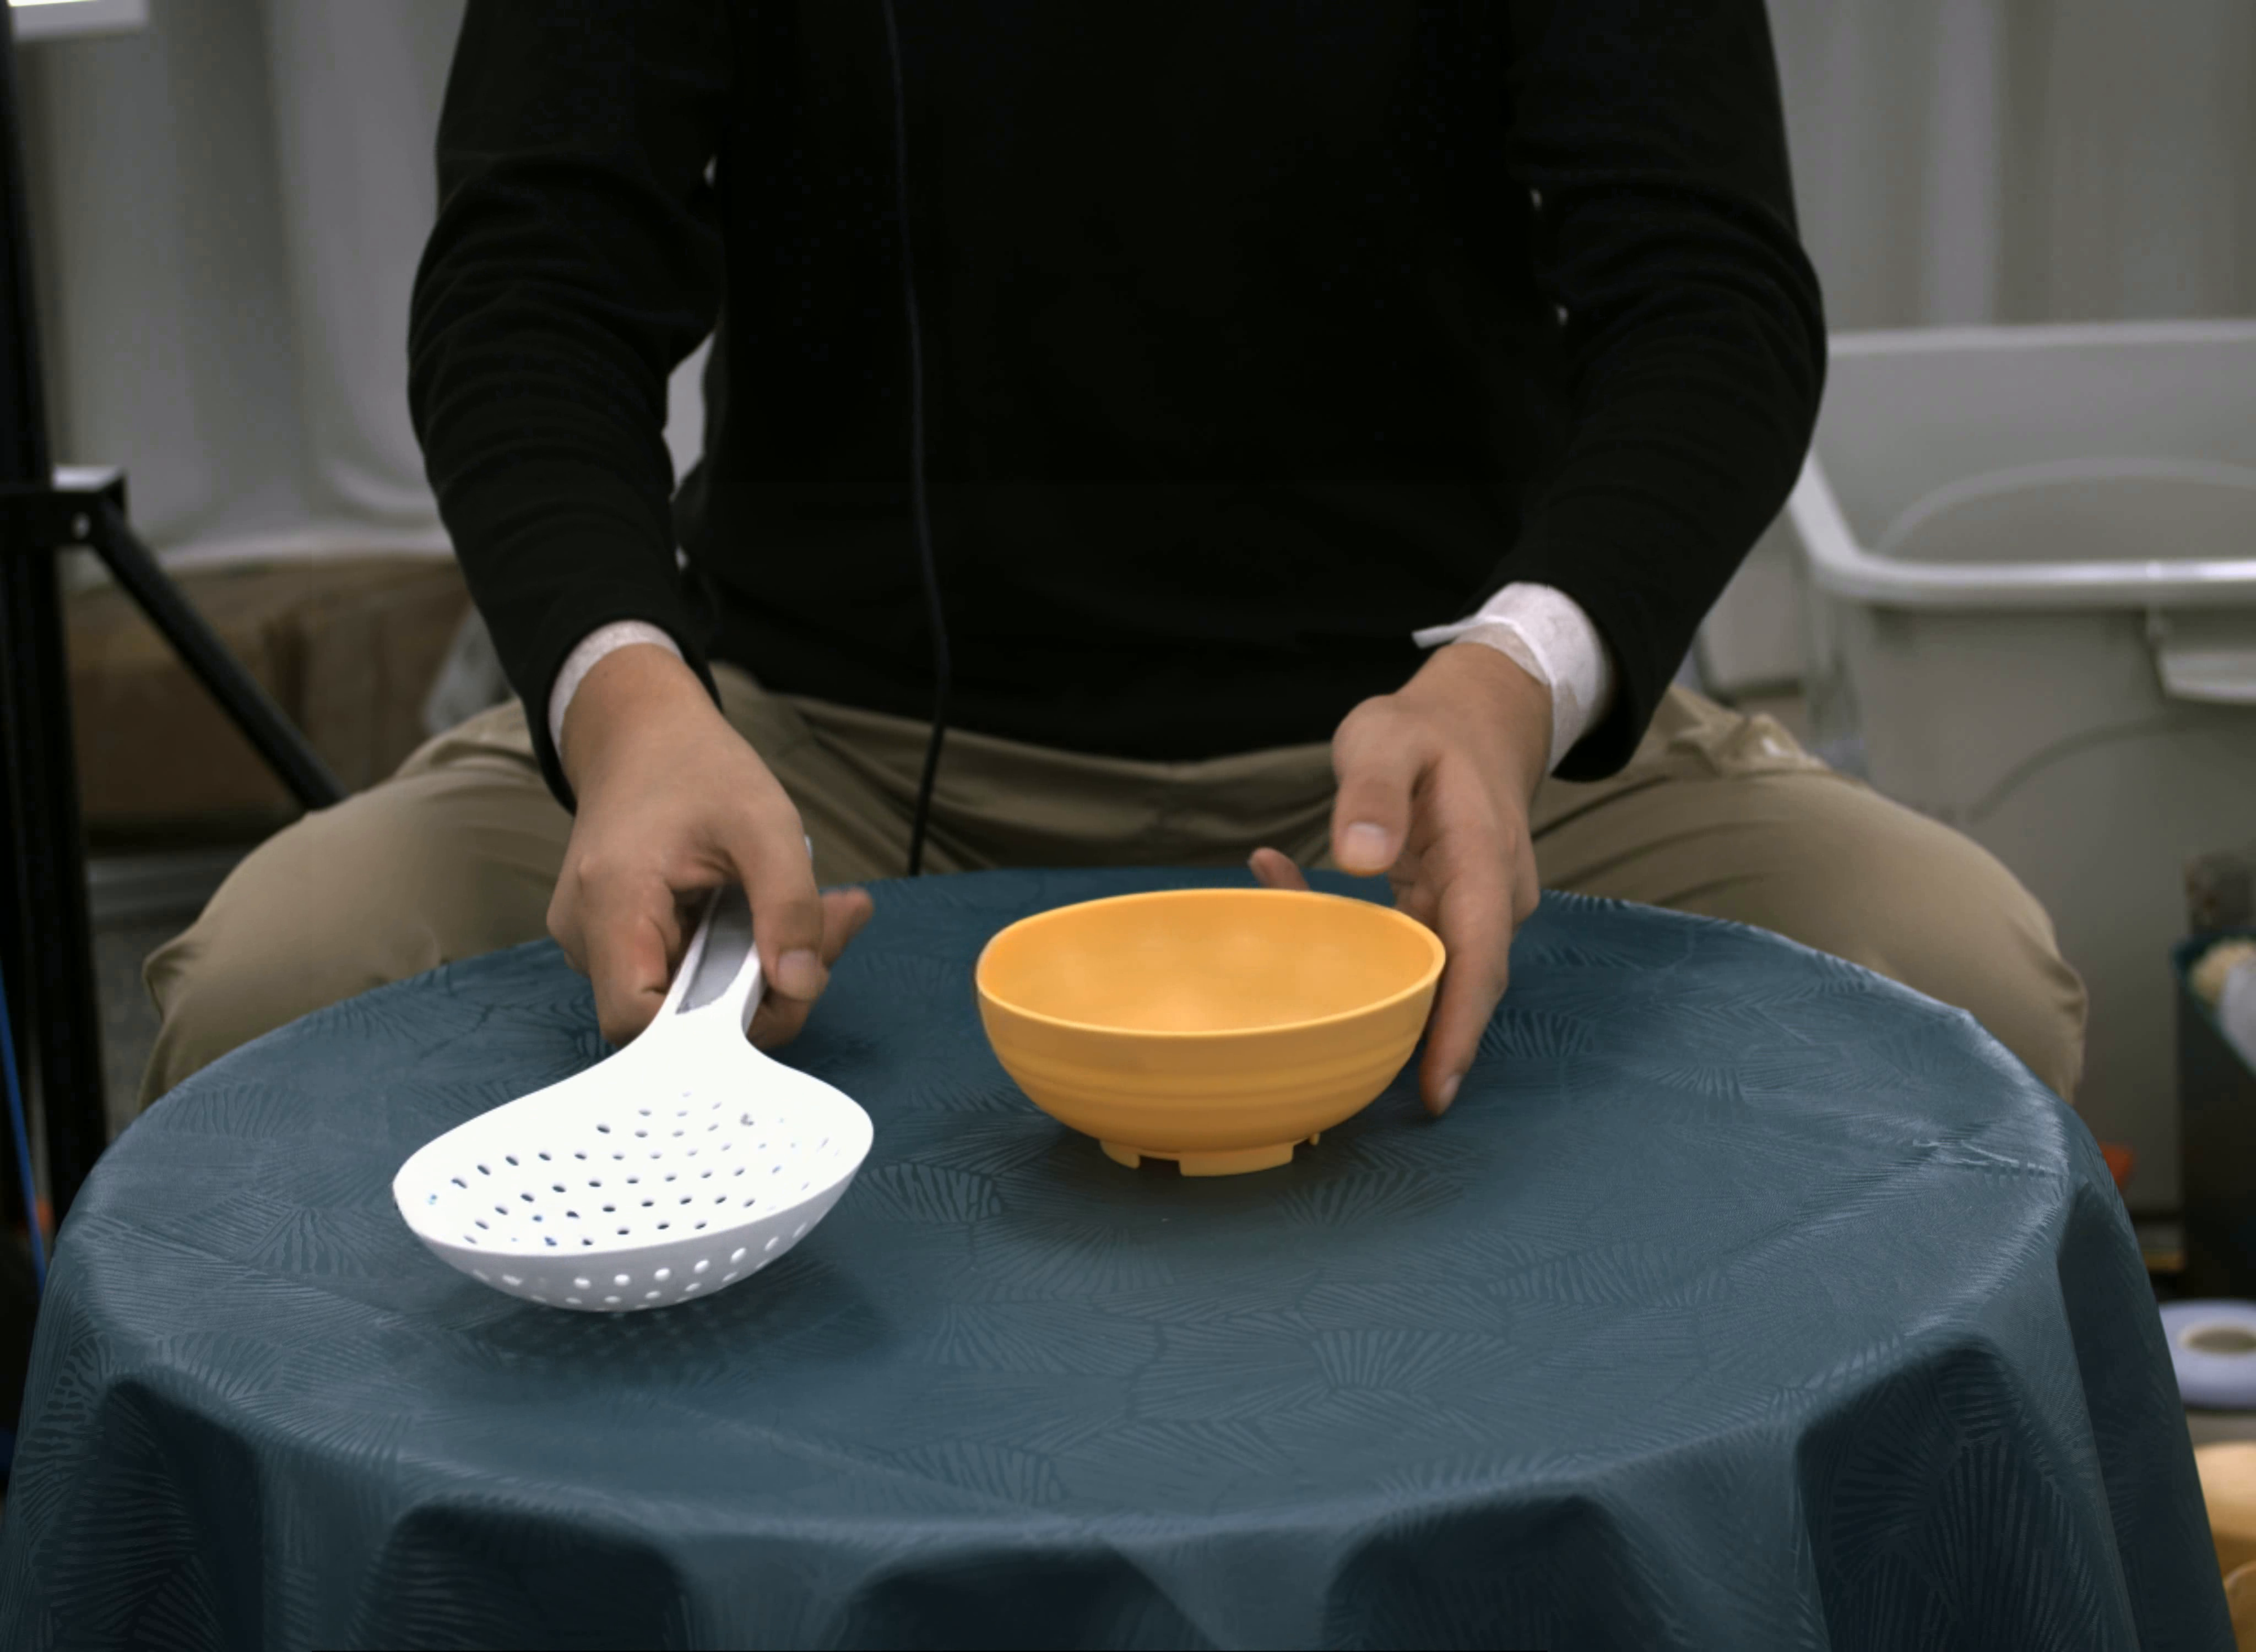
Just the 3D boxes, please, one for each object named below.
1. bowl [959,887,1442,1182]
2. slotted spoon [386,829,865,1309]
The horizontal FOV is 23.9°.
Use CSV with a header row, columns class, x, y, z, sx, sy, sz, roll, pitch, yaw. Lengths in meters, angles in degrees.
class,x,y,z,sx,sy,sz,roll,pitch,yaw
bowl,0.022,0.068,1.593,0.144,0.060,0.146,-1,16,-1
slotted spoon,-0.131,0.064,1.591,0.136,0.045,0.351,-6,23,7
